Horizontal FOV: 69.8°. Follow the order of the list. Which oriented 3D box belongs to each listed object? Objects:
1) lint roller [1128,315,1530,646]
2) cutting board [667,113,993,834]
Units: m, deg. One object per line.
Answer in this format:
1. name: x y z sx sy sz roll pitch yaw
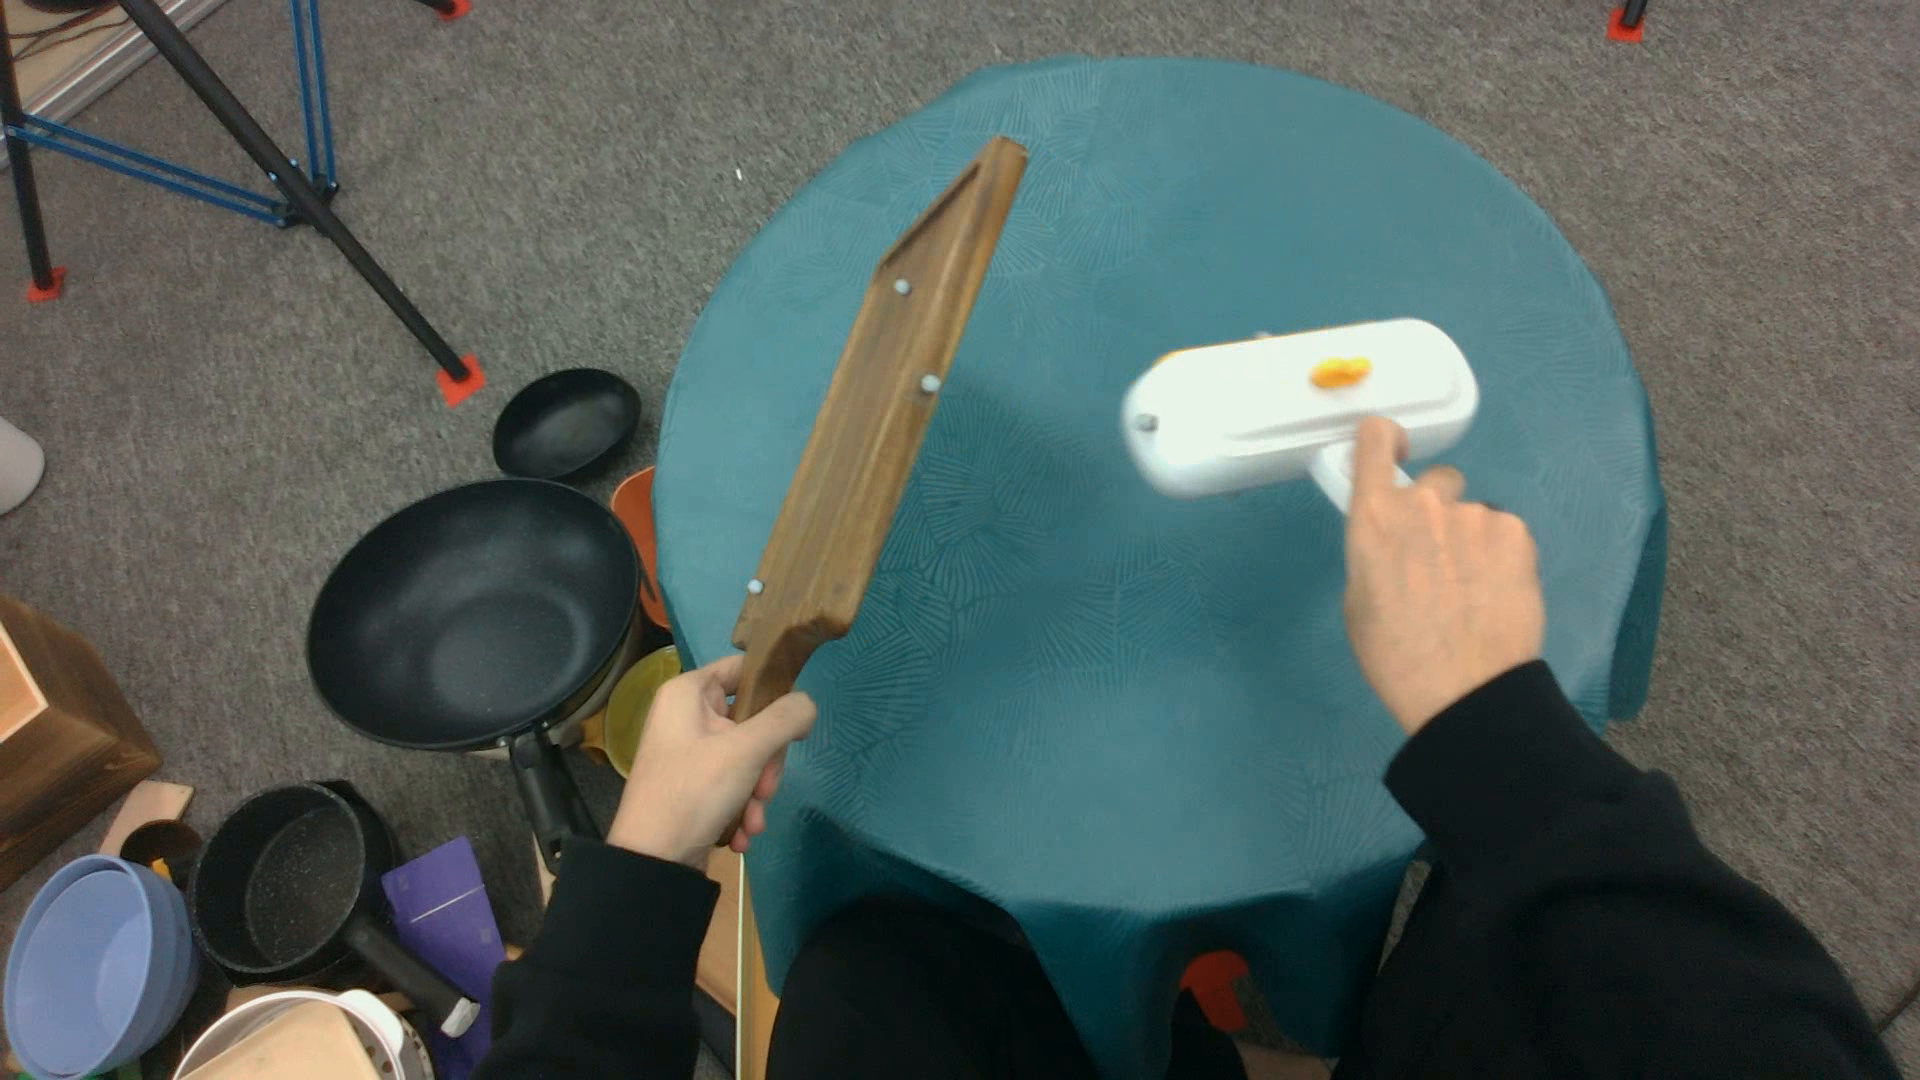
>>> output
1. lint roller: 0.193 -0.027 0.647 0.193 0.074 0.193 -6 61 -35
2. cutting board: -0.077 -0.027 0.691 0.023 0.200 0.353 22 75 -18
